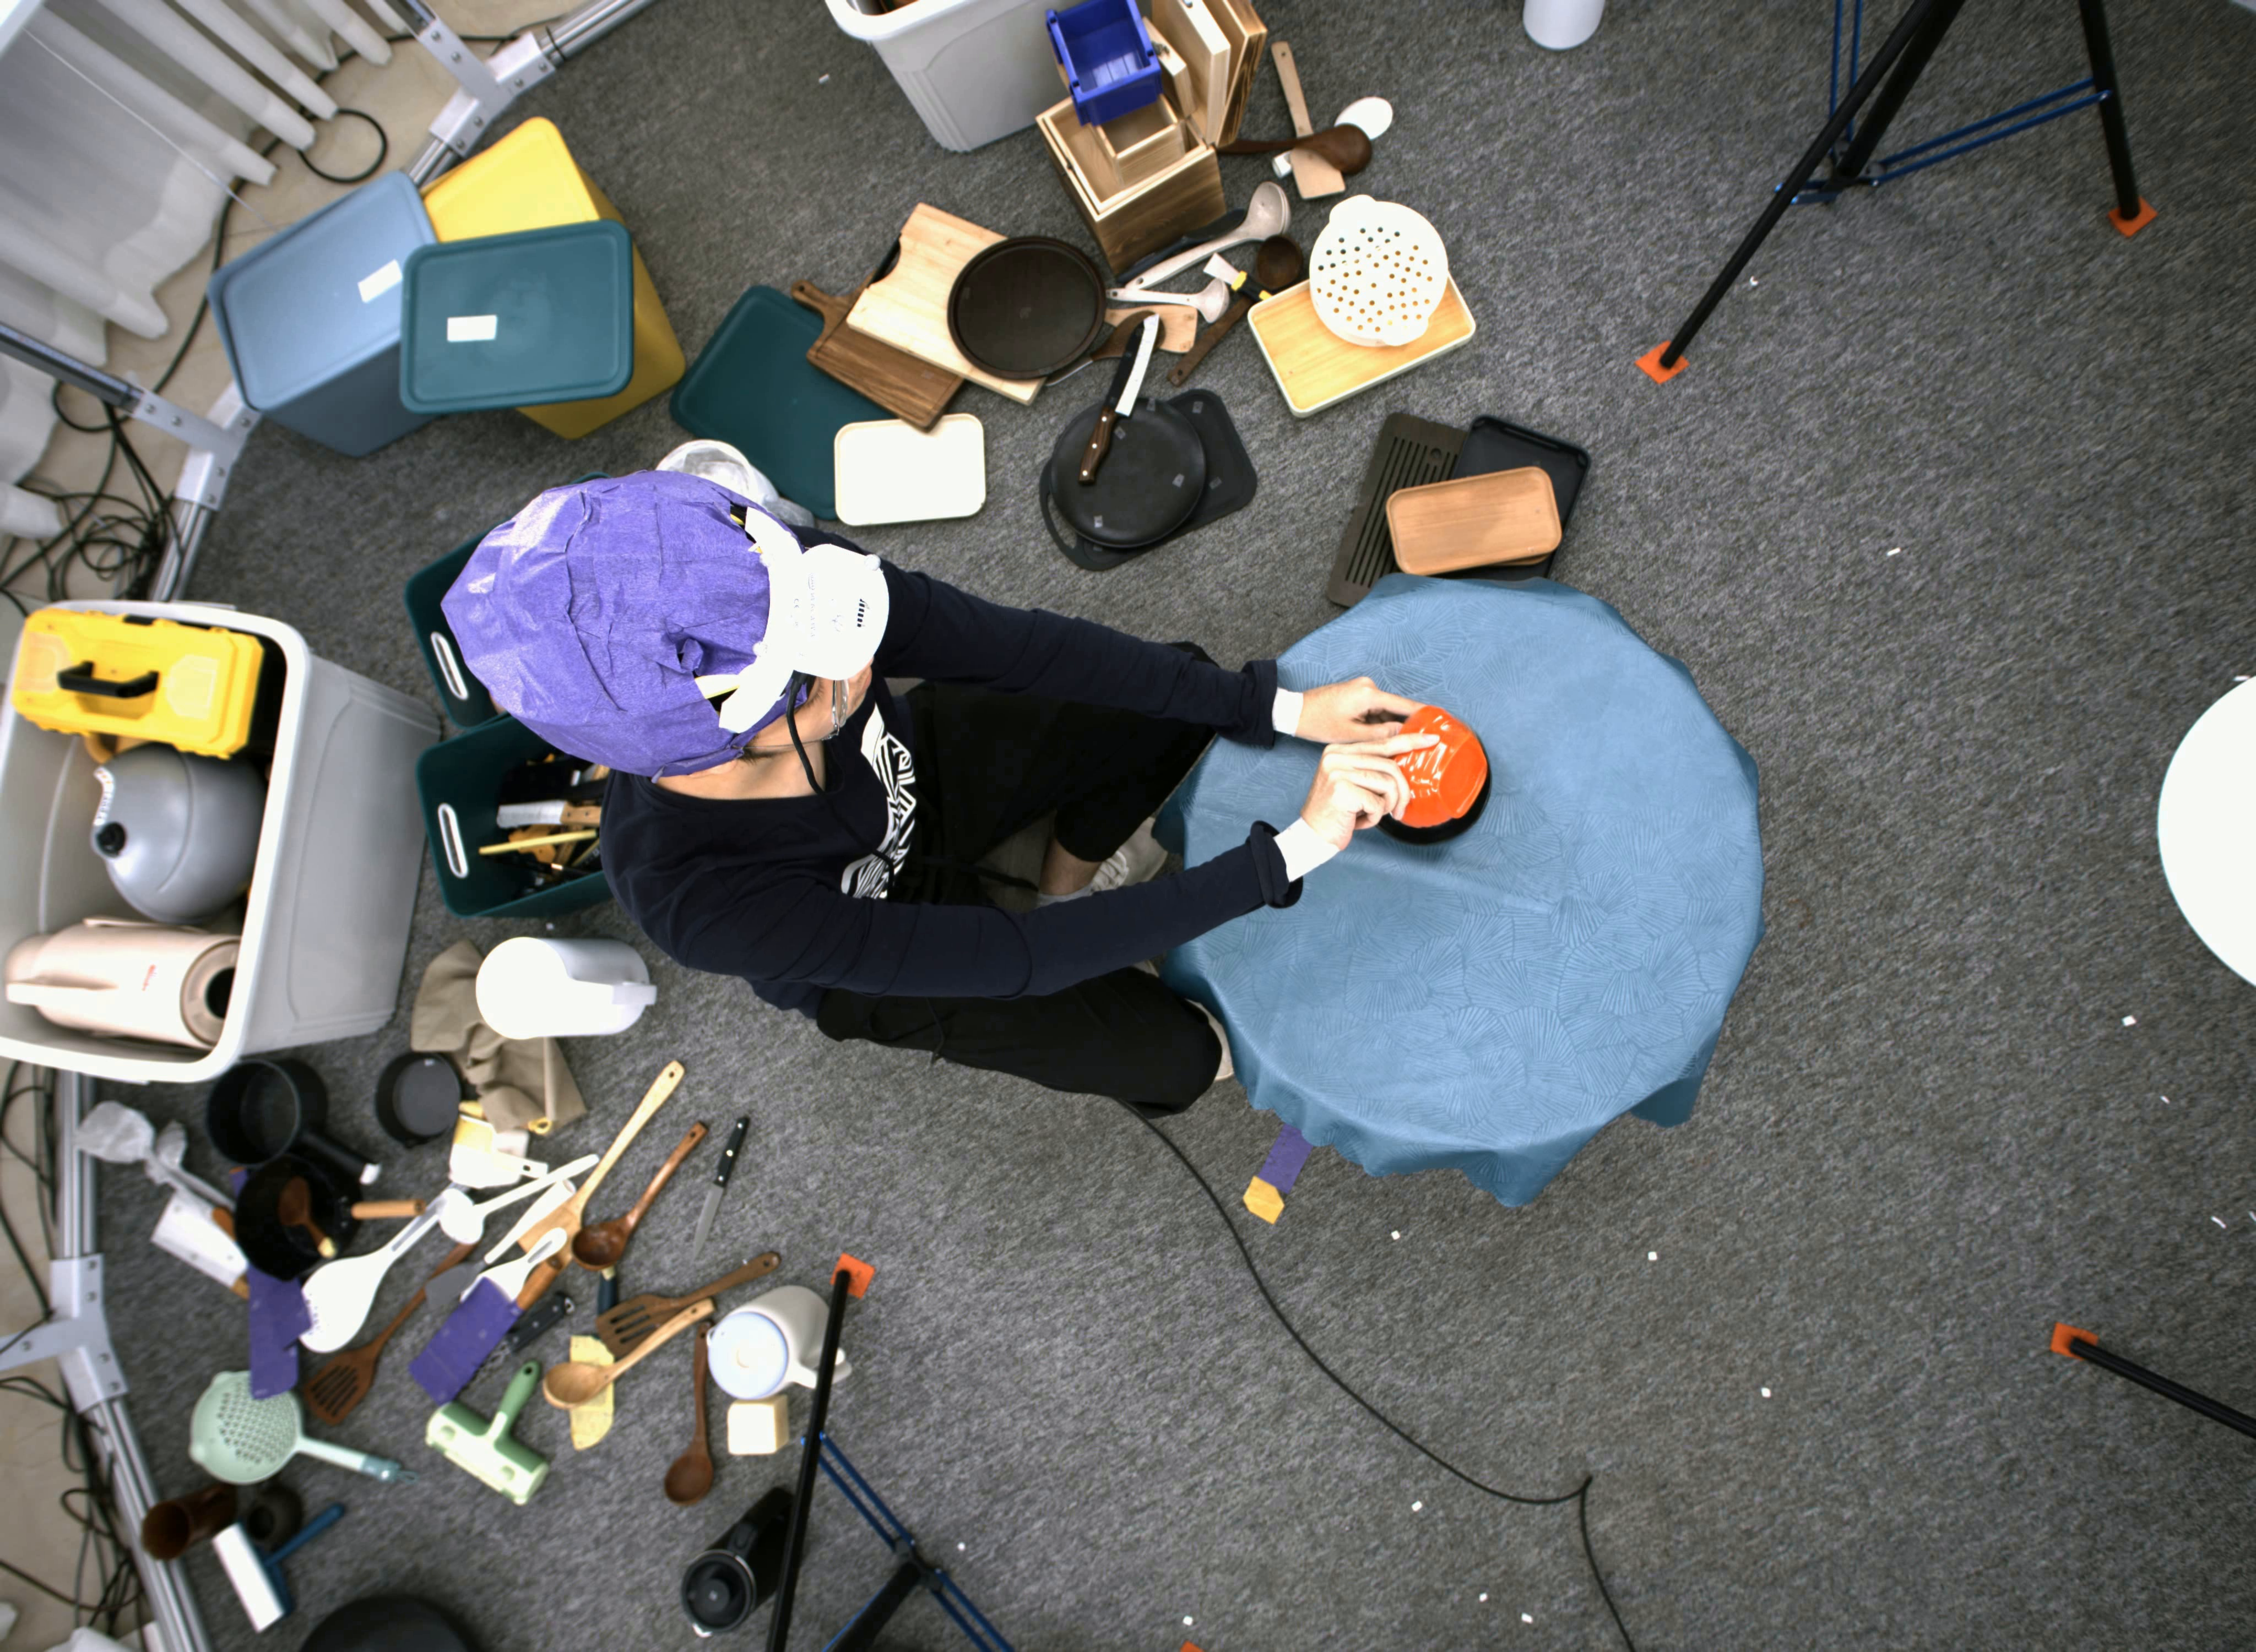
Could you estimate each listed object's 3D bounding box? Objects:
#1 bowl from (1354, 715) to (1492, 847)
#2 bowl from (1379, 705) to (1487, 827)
[{"bbox_3d":[0.308,-0.046,1.437,0.141,0.050,0.139,-2,85,16],"label":"bowl"},{"bbox_3d":[0.290,-0.051,1.276,0.051,0.119,0.119,28,91,44],"label":"bowl"}]
